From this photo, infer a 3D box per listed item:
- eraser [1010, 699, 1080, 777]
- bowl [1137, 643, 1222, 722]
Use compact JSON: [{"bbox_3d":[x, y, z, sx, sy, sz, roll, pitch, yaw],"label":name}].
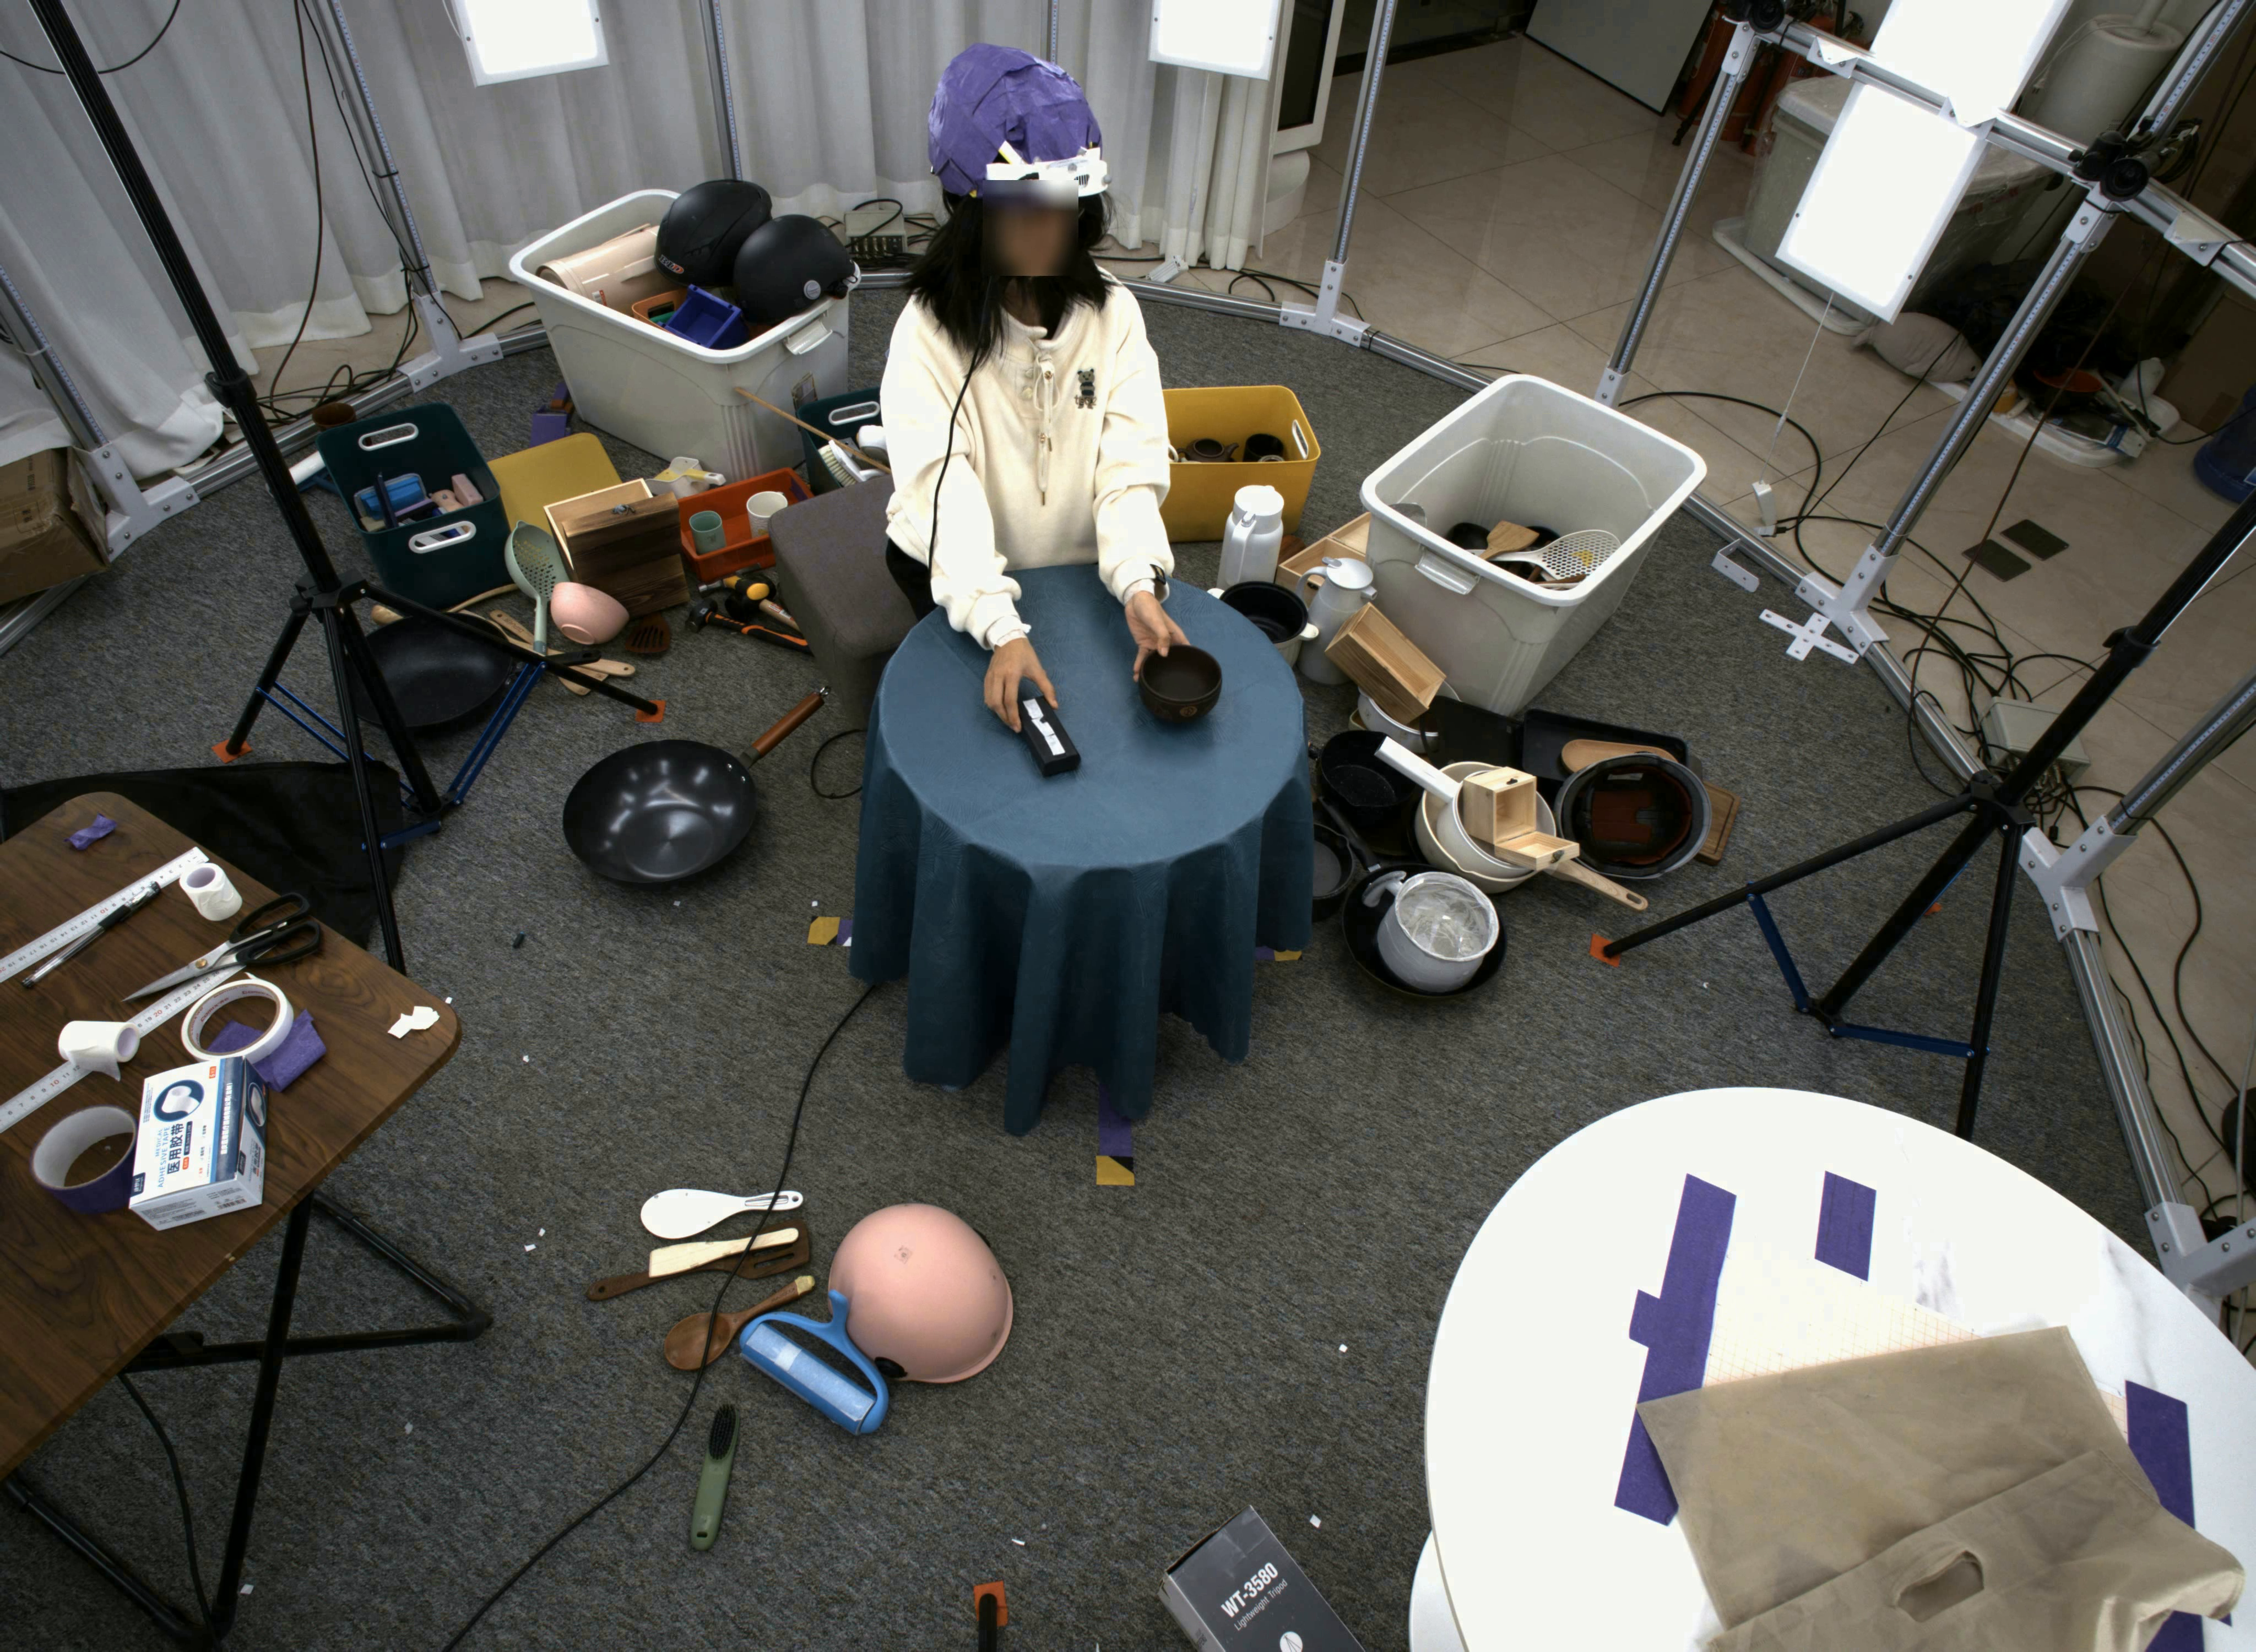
[{"bbox_3d":[-0.113,-0.121,1.750,0.053,0.030,0.128,-17,50,-19],"label":"eraser"},{"bbox_3d":[0.071,-0.193,1.796,0.118,0.068,0.121,1,48,-2],"label":"bowl"}]
